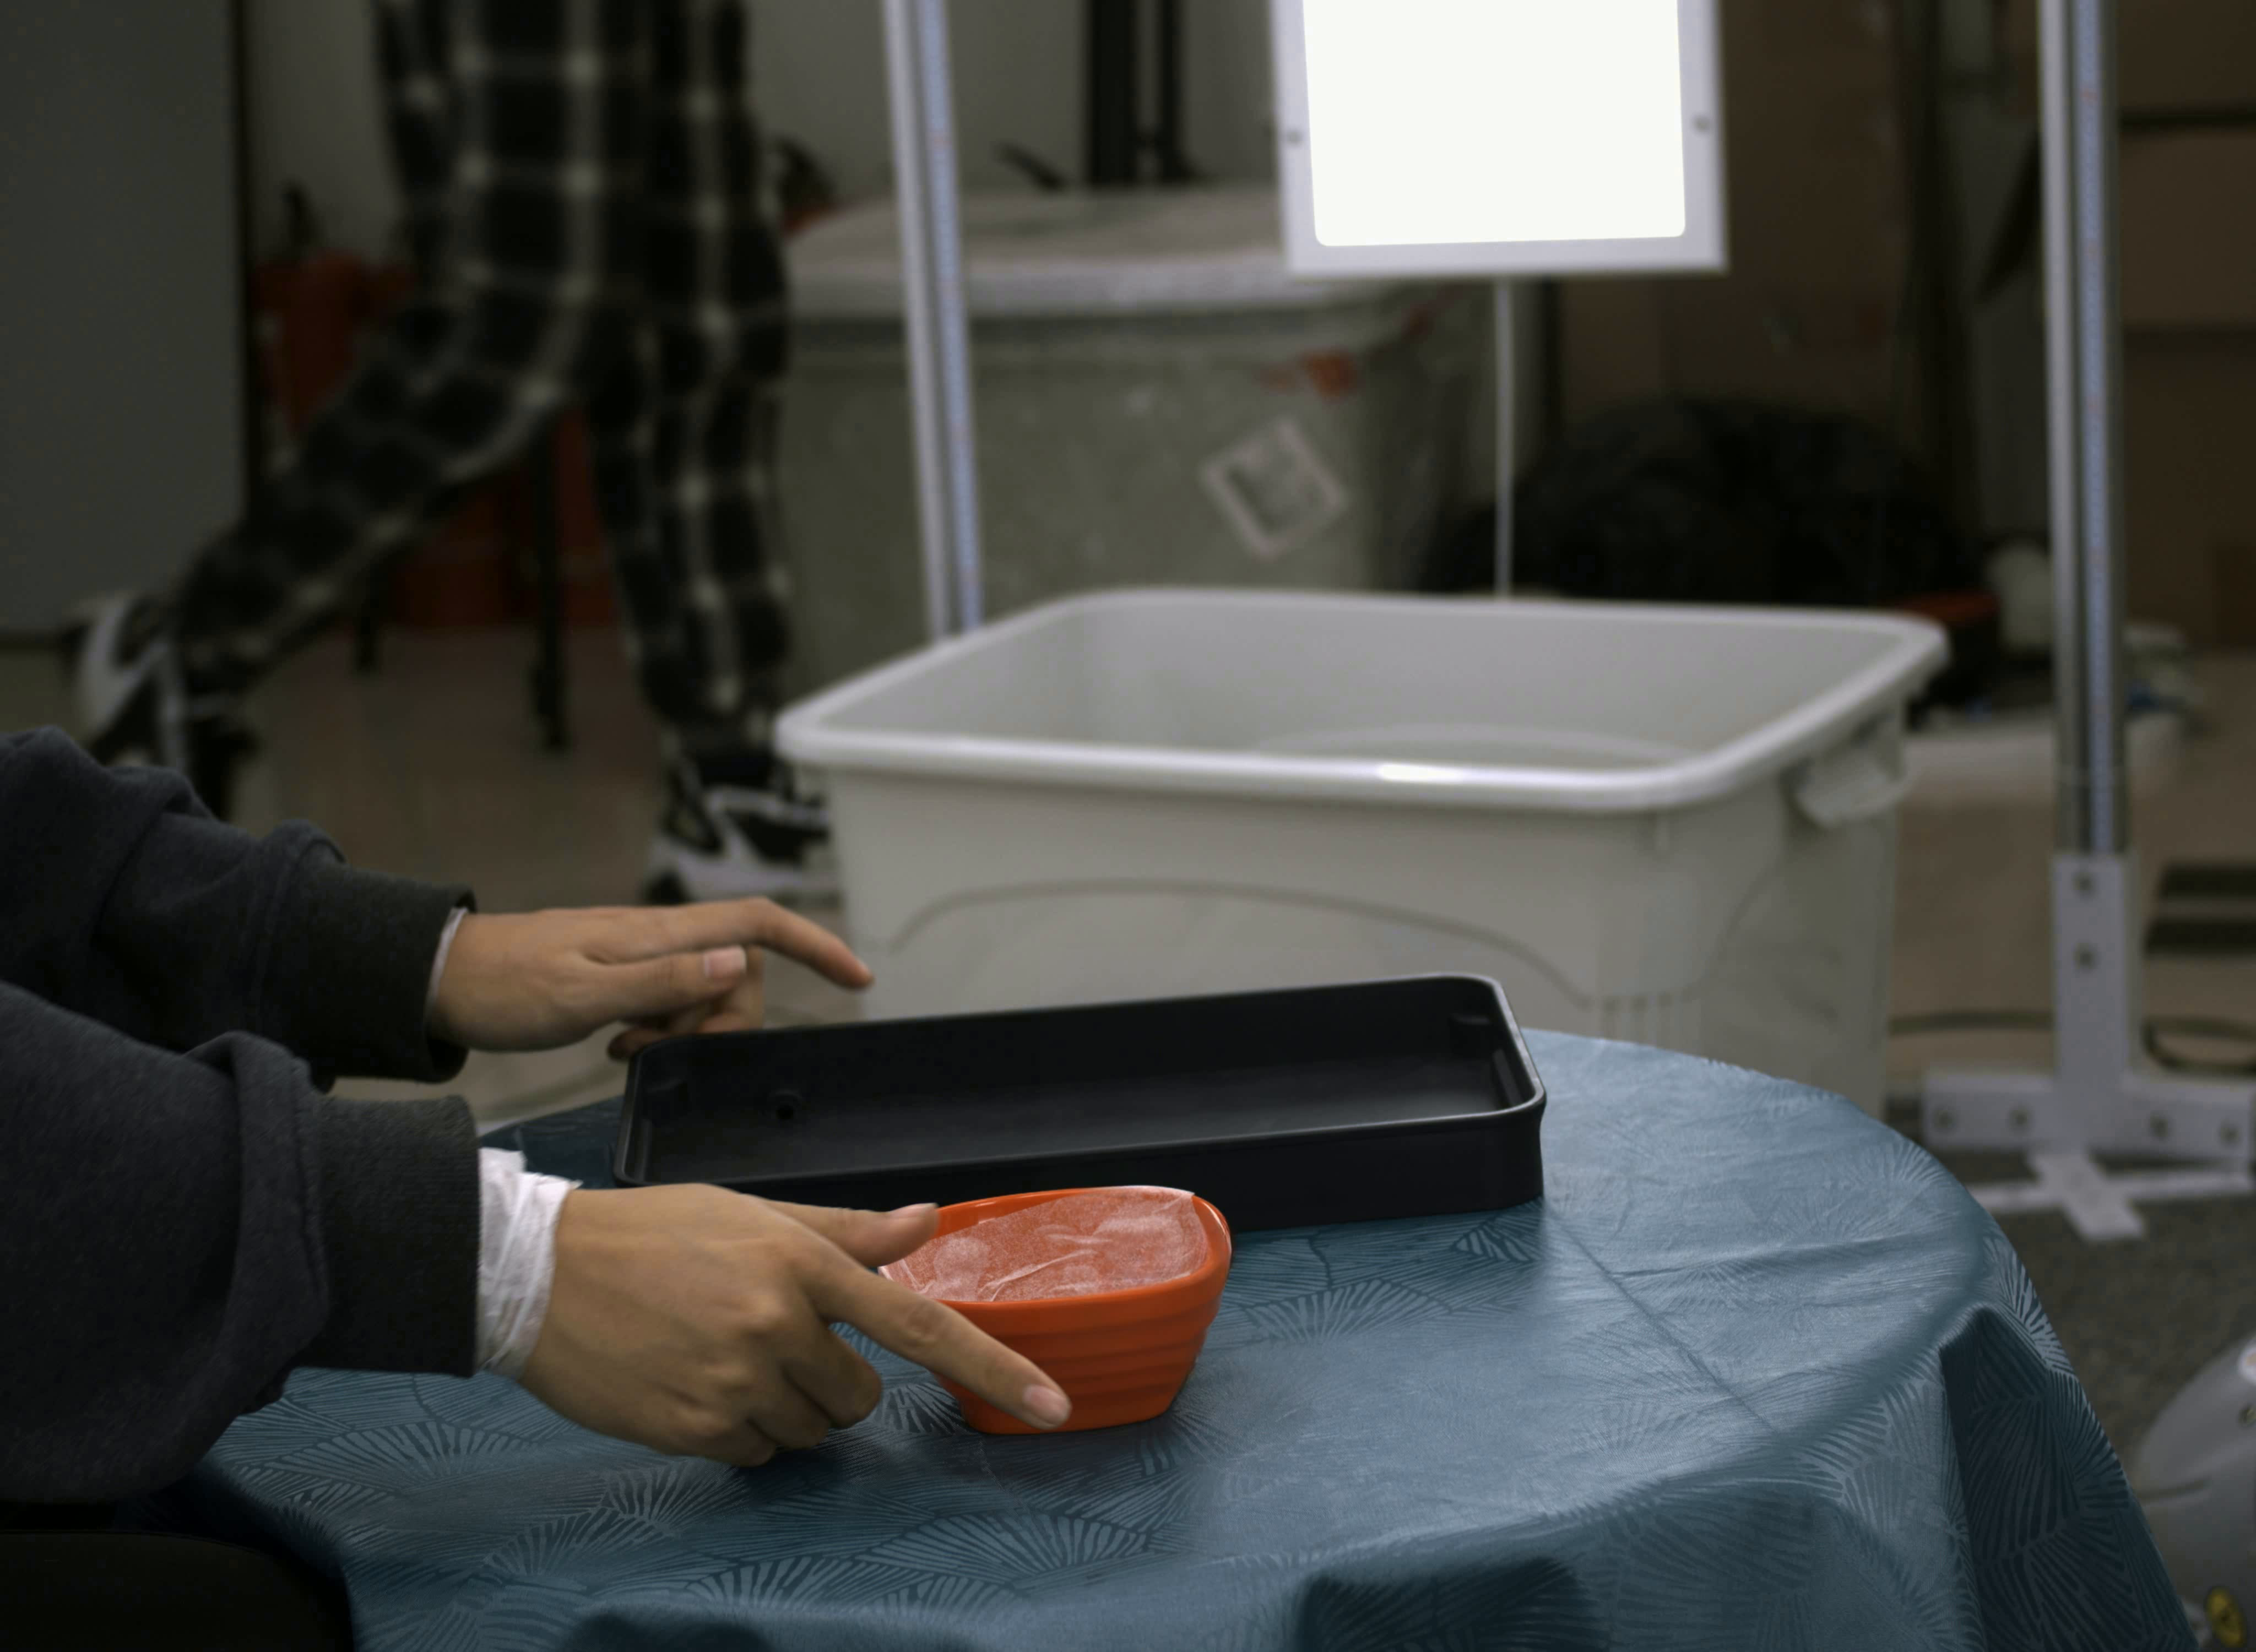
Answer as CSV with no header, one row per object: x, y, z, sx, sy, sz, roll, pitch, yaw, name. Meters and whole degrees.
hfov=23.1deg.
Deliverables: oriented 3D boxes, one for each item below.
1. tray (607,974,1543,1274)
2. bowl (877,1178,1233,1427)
-0.019,0.102,1.925,0.317,0.037,0.184,-4,14,1,tray
-0.021,0.149,1.695,0.118,0.051,0.119,-3,15,-1,bowl
